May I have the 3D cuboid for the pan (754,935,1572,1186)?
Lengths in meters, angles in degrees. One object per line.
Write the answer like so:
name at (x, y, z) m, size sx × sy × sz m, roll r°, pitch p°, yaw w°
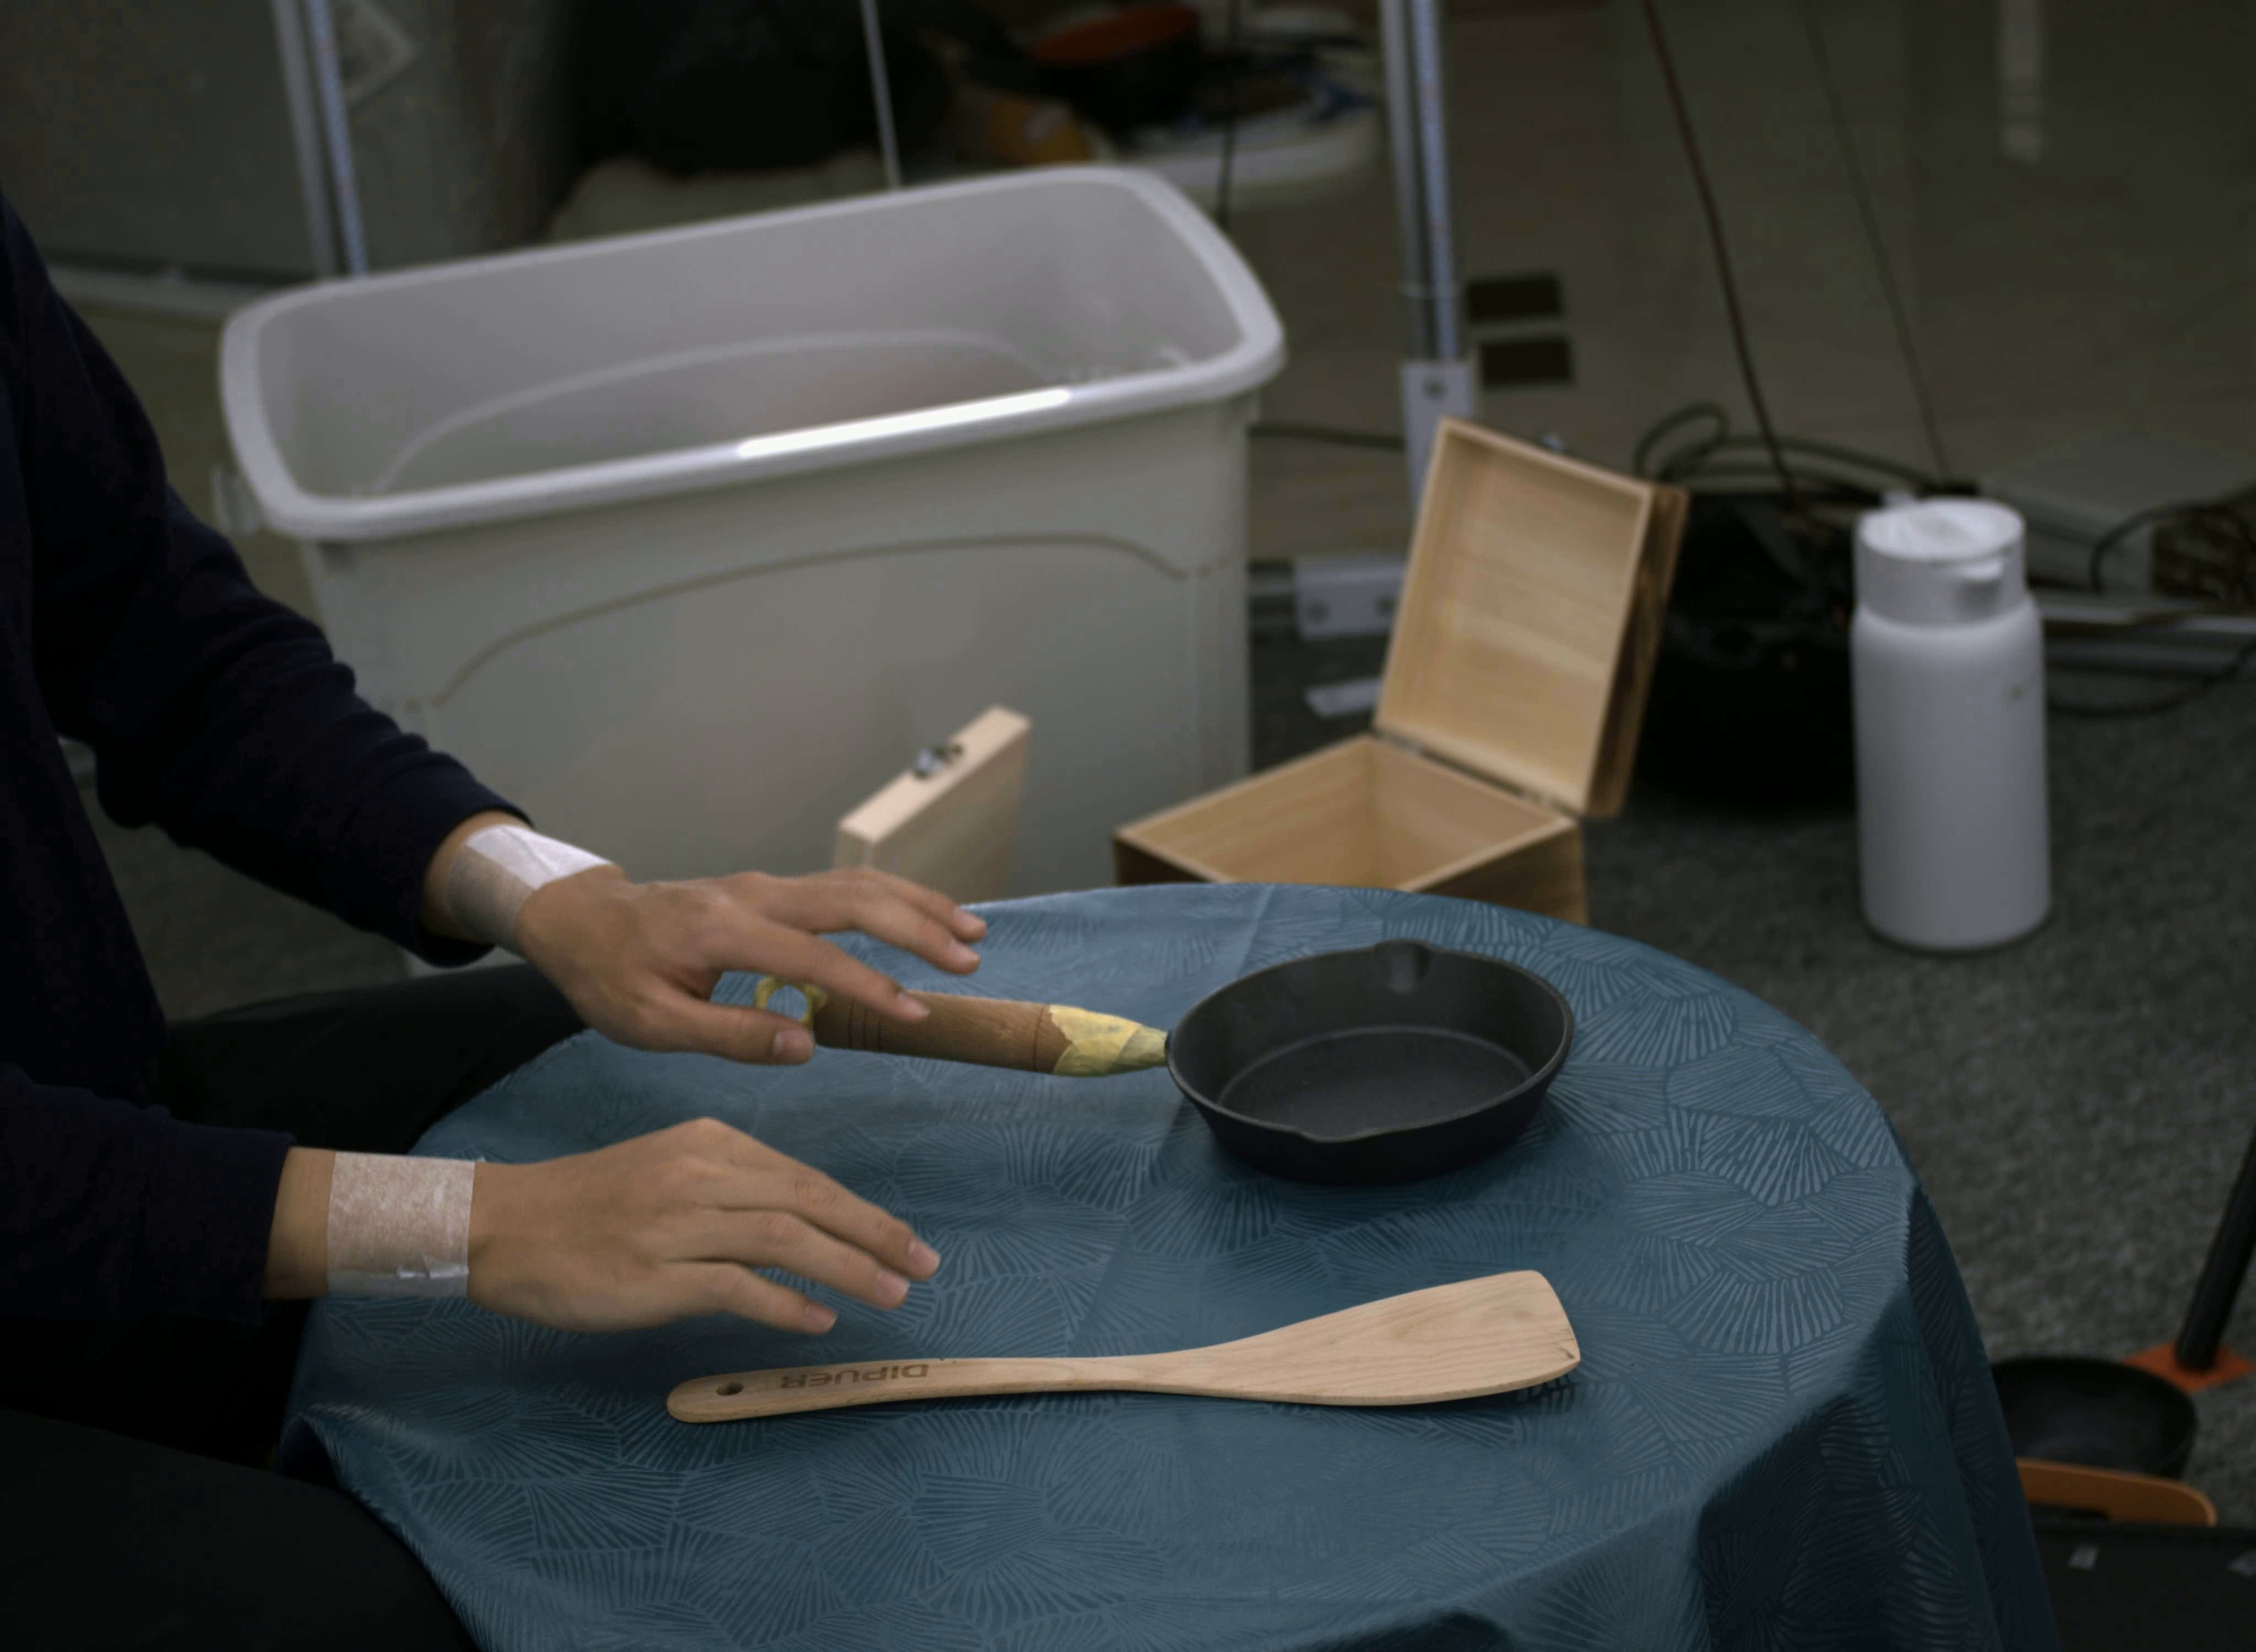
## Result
pan at (0.012, 0.085, 2.198) m, size 0.323 × 0.050 × 0.166 m, roll 2°, pitch 26°, yaw 15°

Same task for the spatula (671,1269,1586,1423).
spatula at (-0.001, 0.190, 2.019) m, size 0.327 × 0.017 × 0.079 m, roll -4°, pitch 24°, yaw 5°
